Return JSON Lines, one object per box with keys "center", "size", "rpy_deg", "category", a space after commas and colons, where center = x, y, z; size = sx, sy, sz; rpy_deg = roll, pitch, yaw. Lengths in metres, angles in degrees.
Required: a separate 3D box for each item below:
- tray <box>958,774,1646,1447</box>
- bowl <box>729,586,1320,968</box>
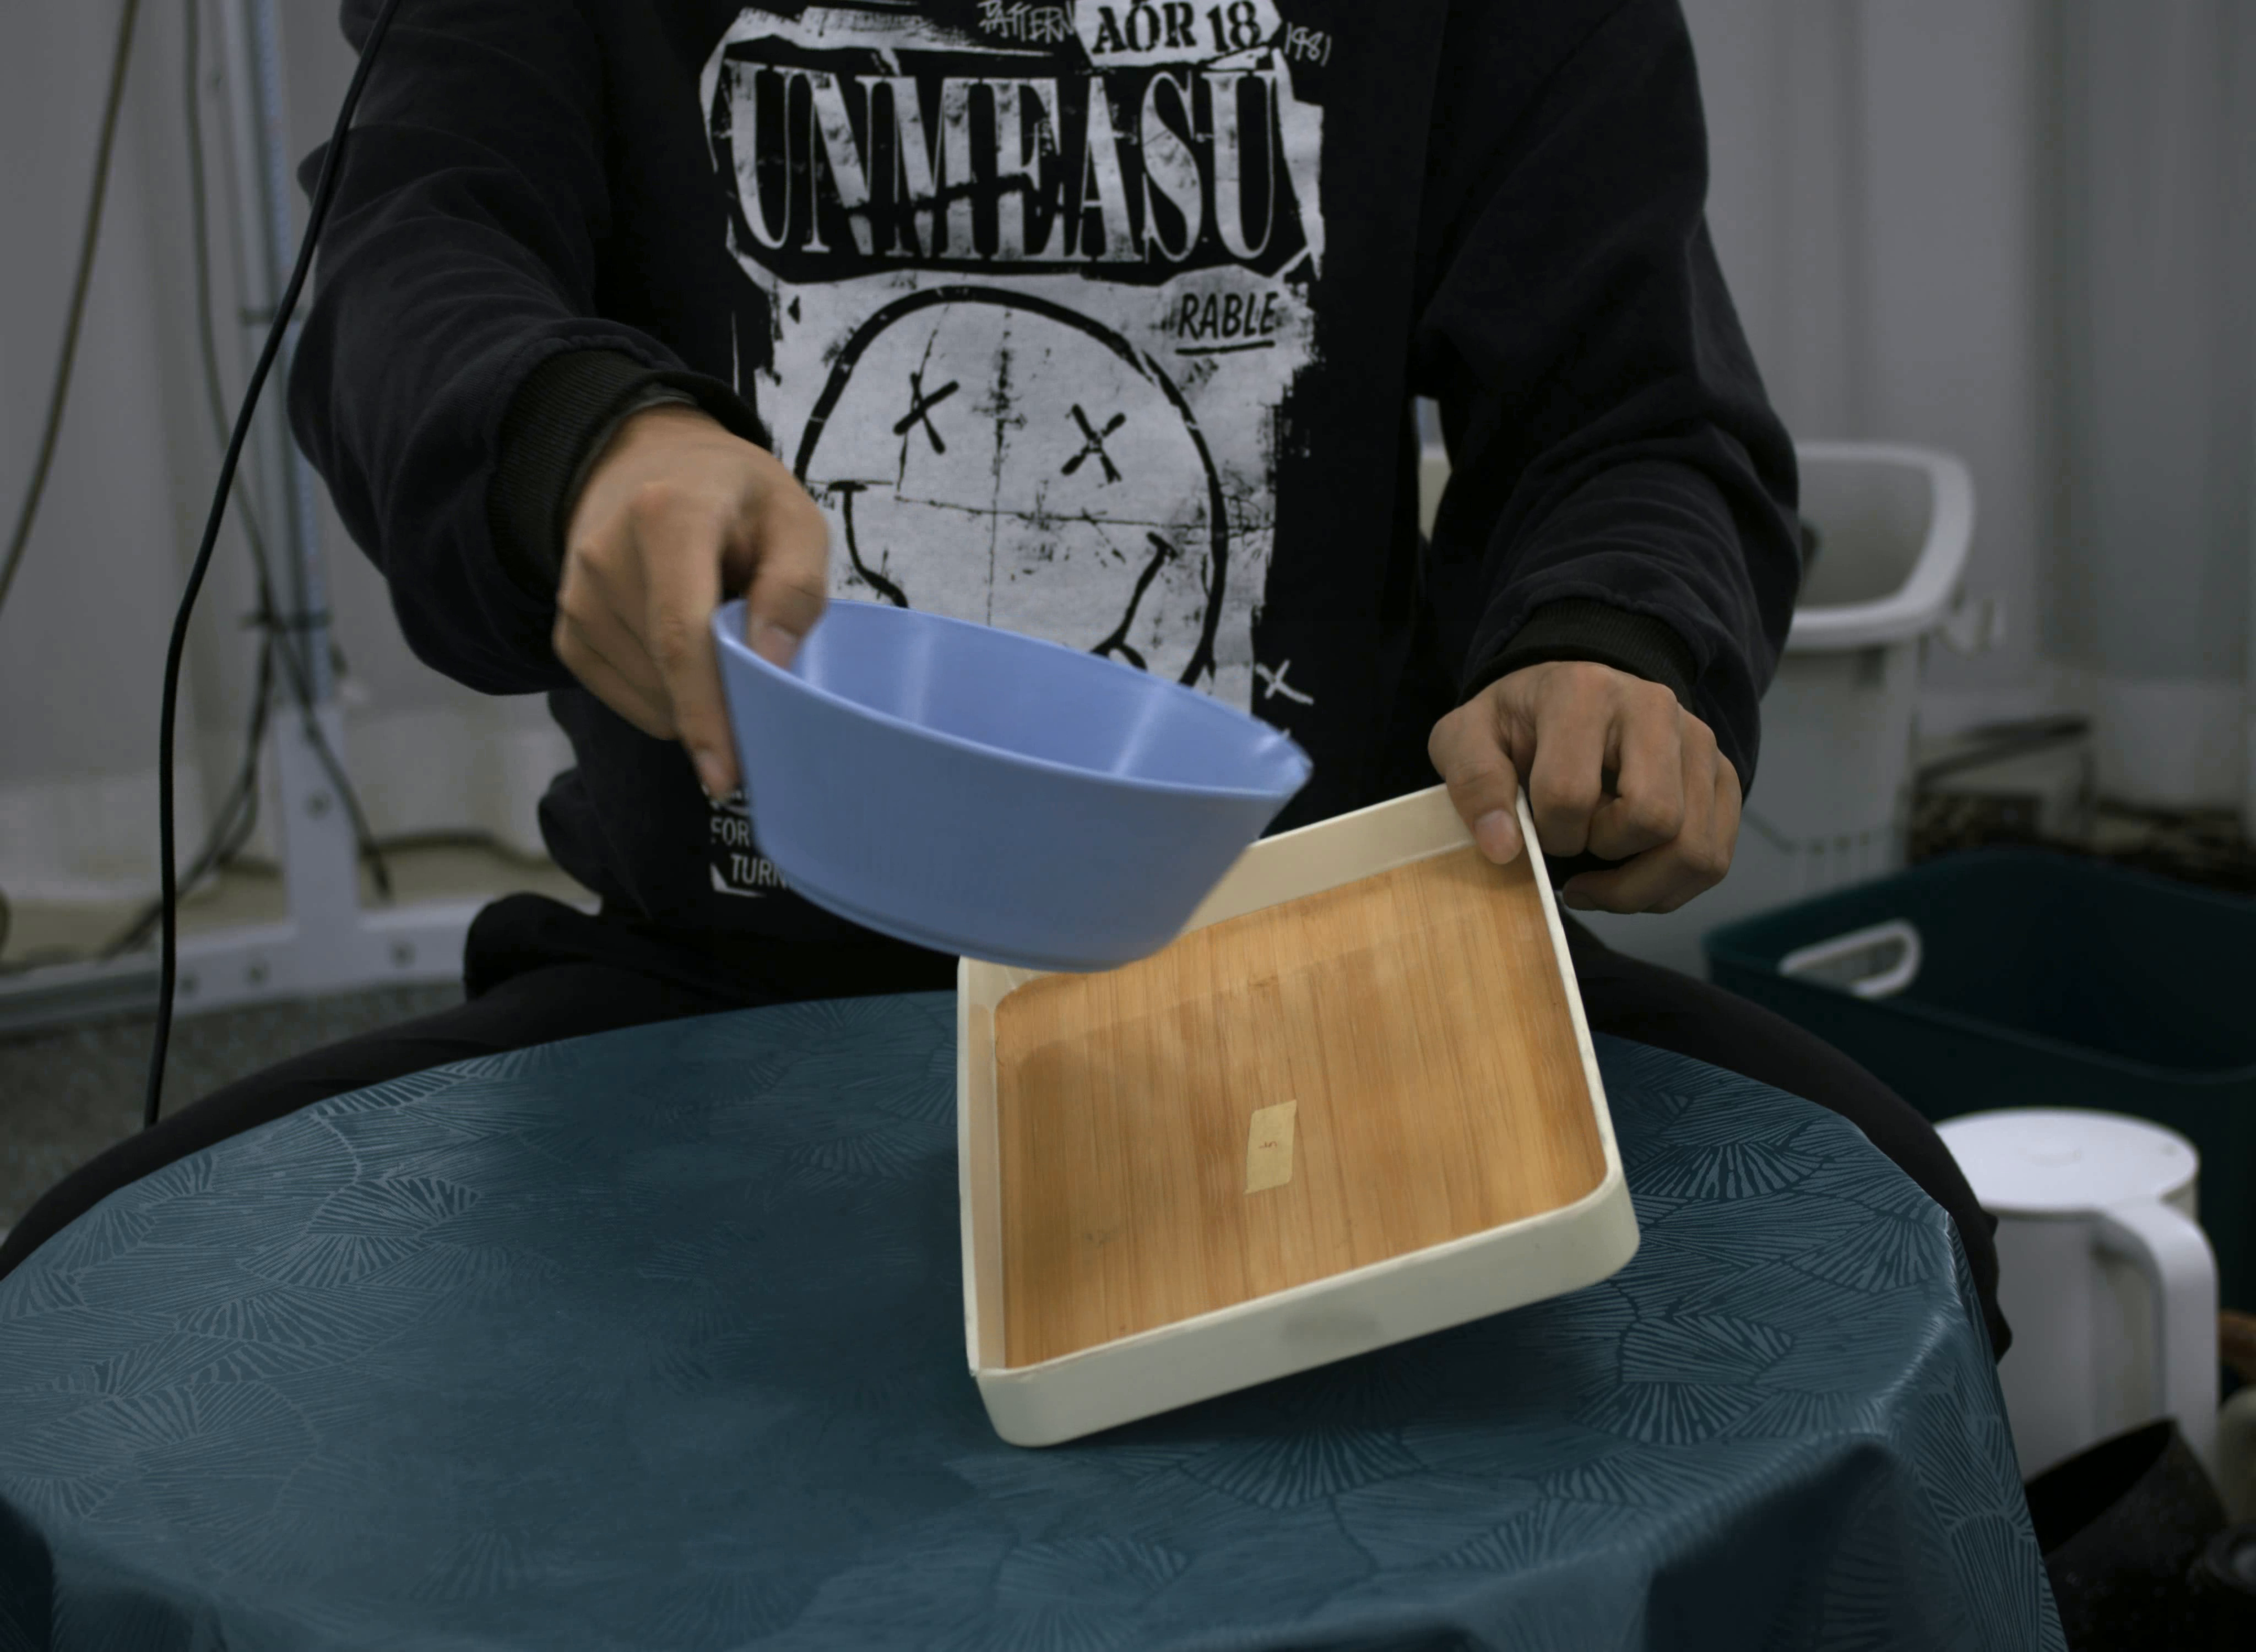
{"center": [0.045, 0.078, 1.627], "size": [0.191, 0.027, 0.303], "rpy_deg": [-17, 23, 5], "category": "tray"}
{"center": [-0.037, -0.010, 1.572], "size": [0.175, 0.070, 0.177], "rpy_deg": [15, 13, -4], "category": "bowl"}
